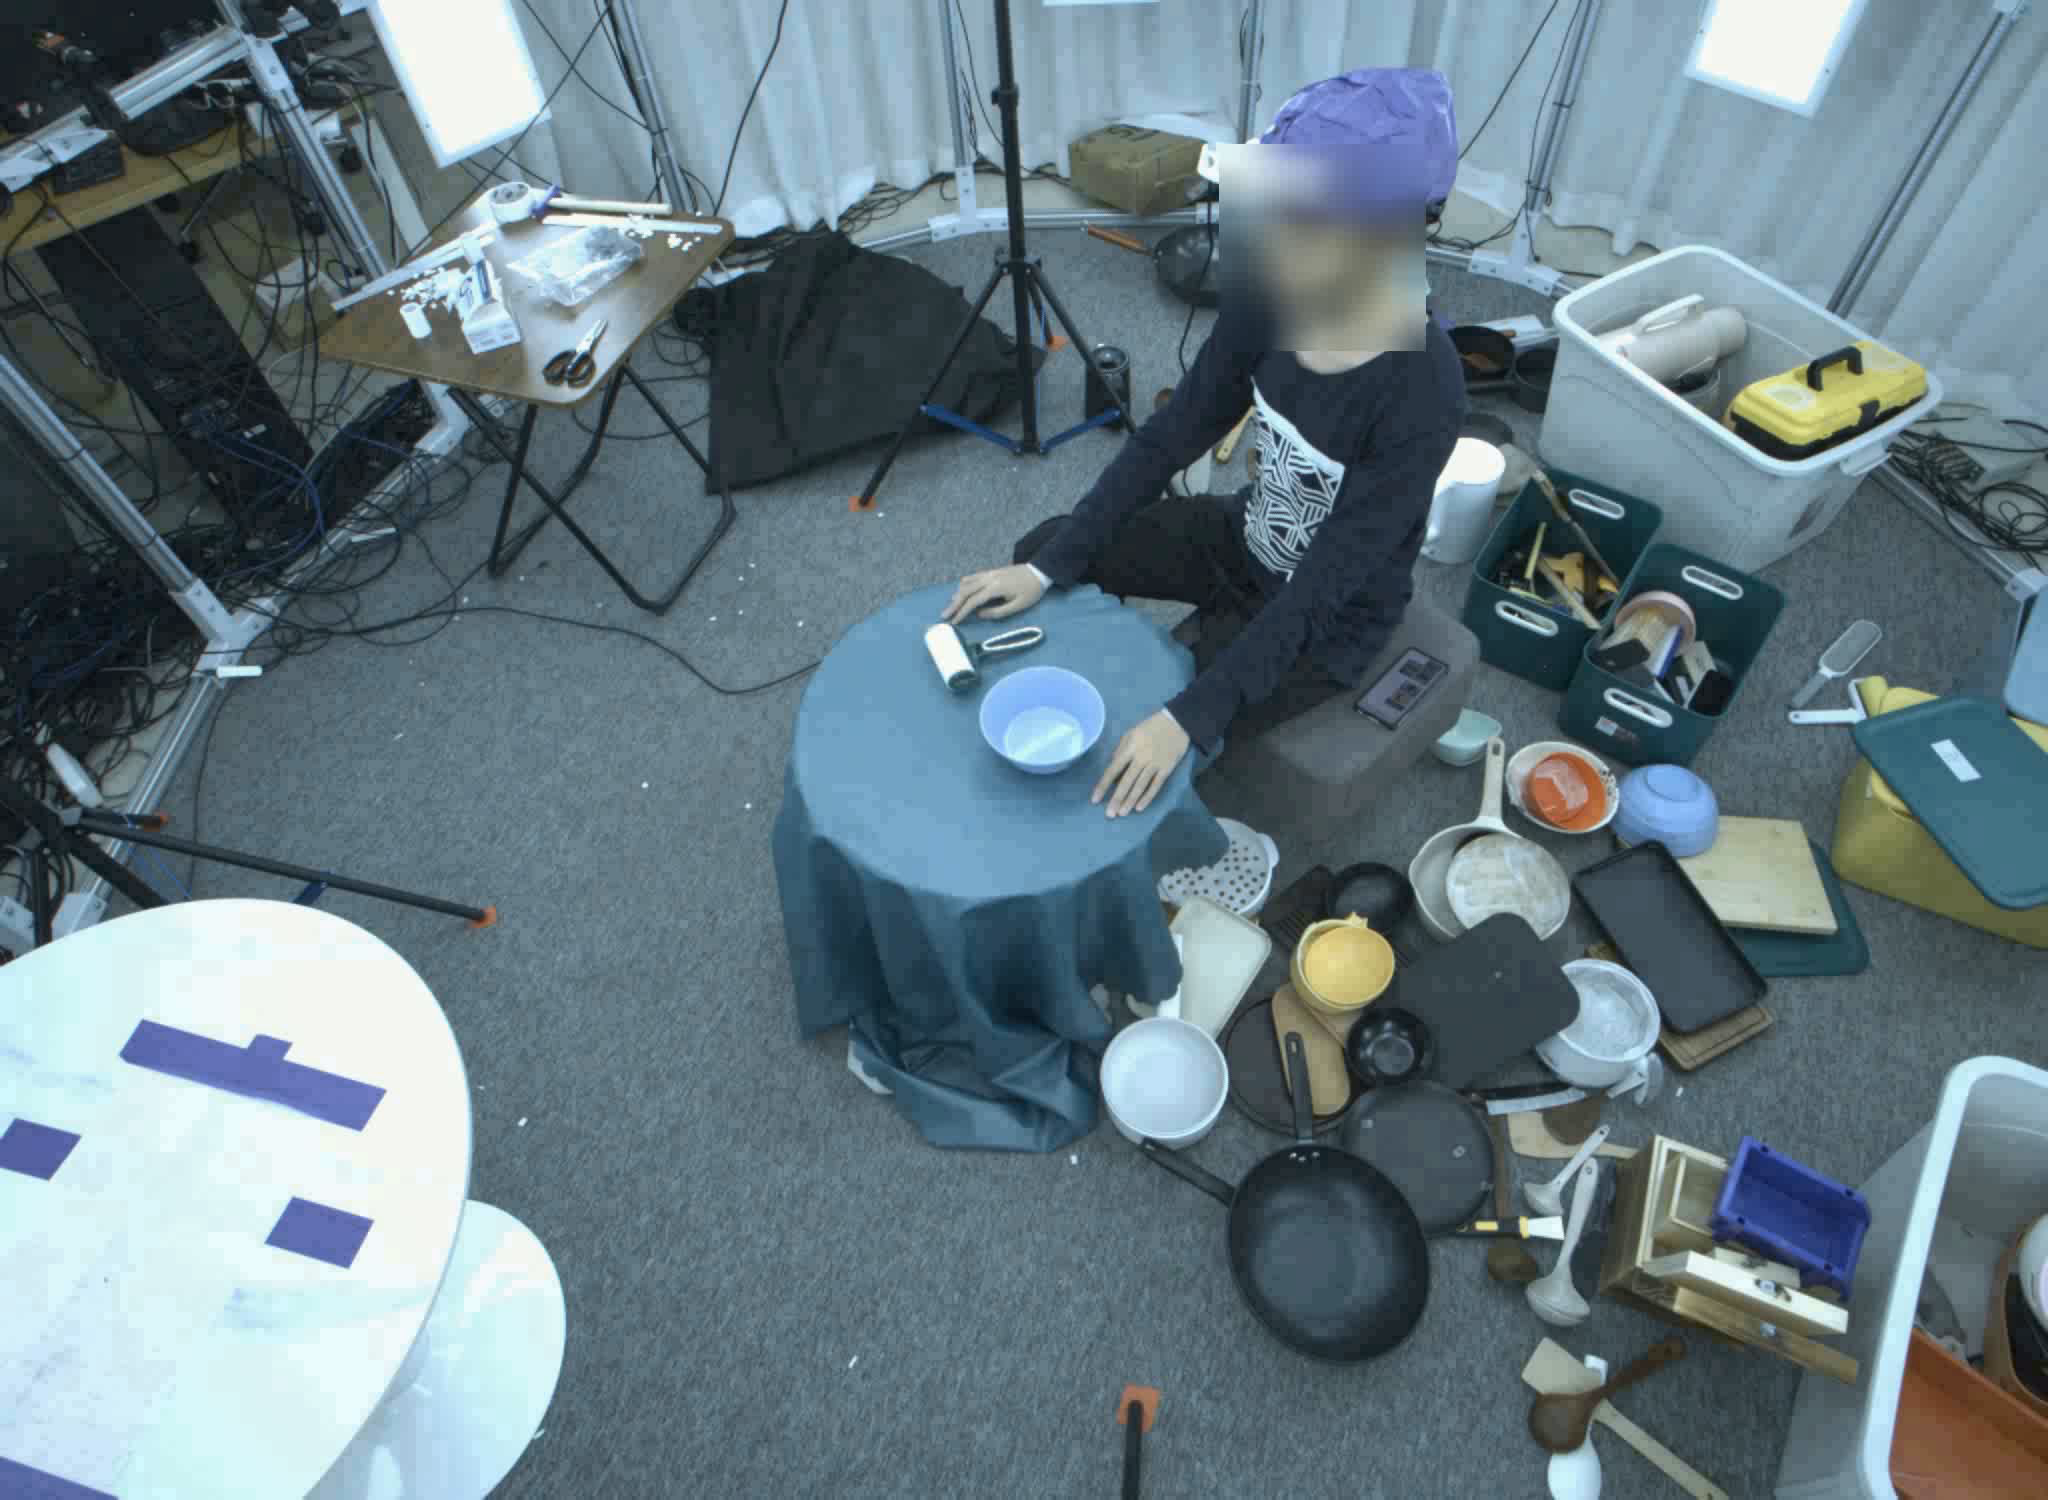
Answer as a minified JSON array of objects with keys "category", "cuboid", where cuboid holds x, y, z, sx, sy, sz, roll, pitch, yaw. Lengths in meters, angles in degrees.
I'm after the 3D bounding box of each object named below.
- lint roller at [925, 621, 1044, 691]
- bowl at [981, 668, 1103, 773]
[{"category":"lint roller","cuboid":[-0.052,-0.162,1.889,0.182,0.049,0.132,-18,56,-16]},{"category":"bowl","cuboid":[0.027,-0.032,1.772,0.176,0.071,0.174,0,54,2]}]
